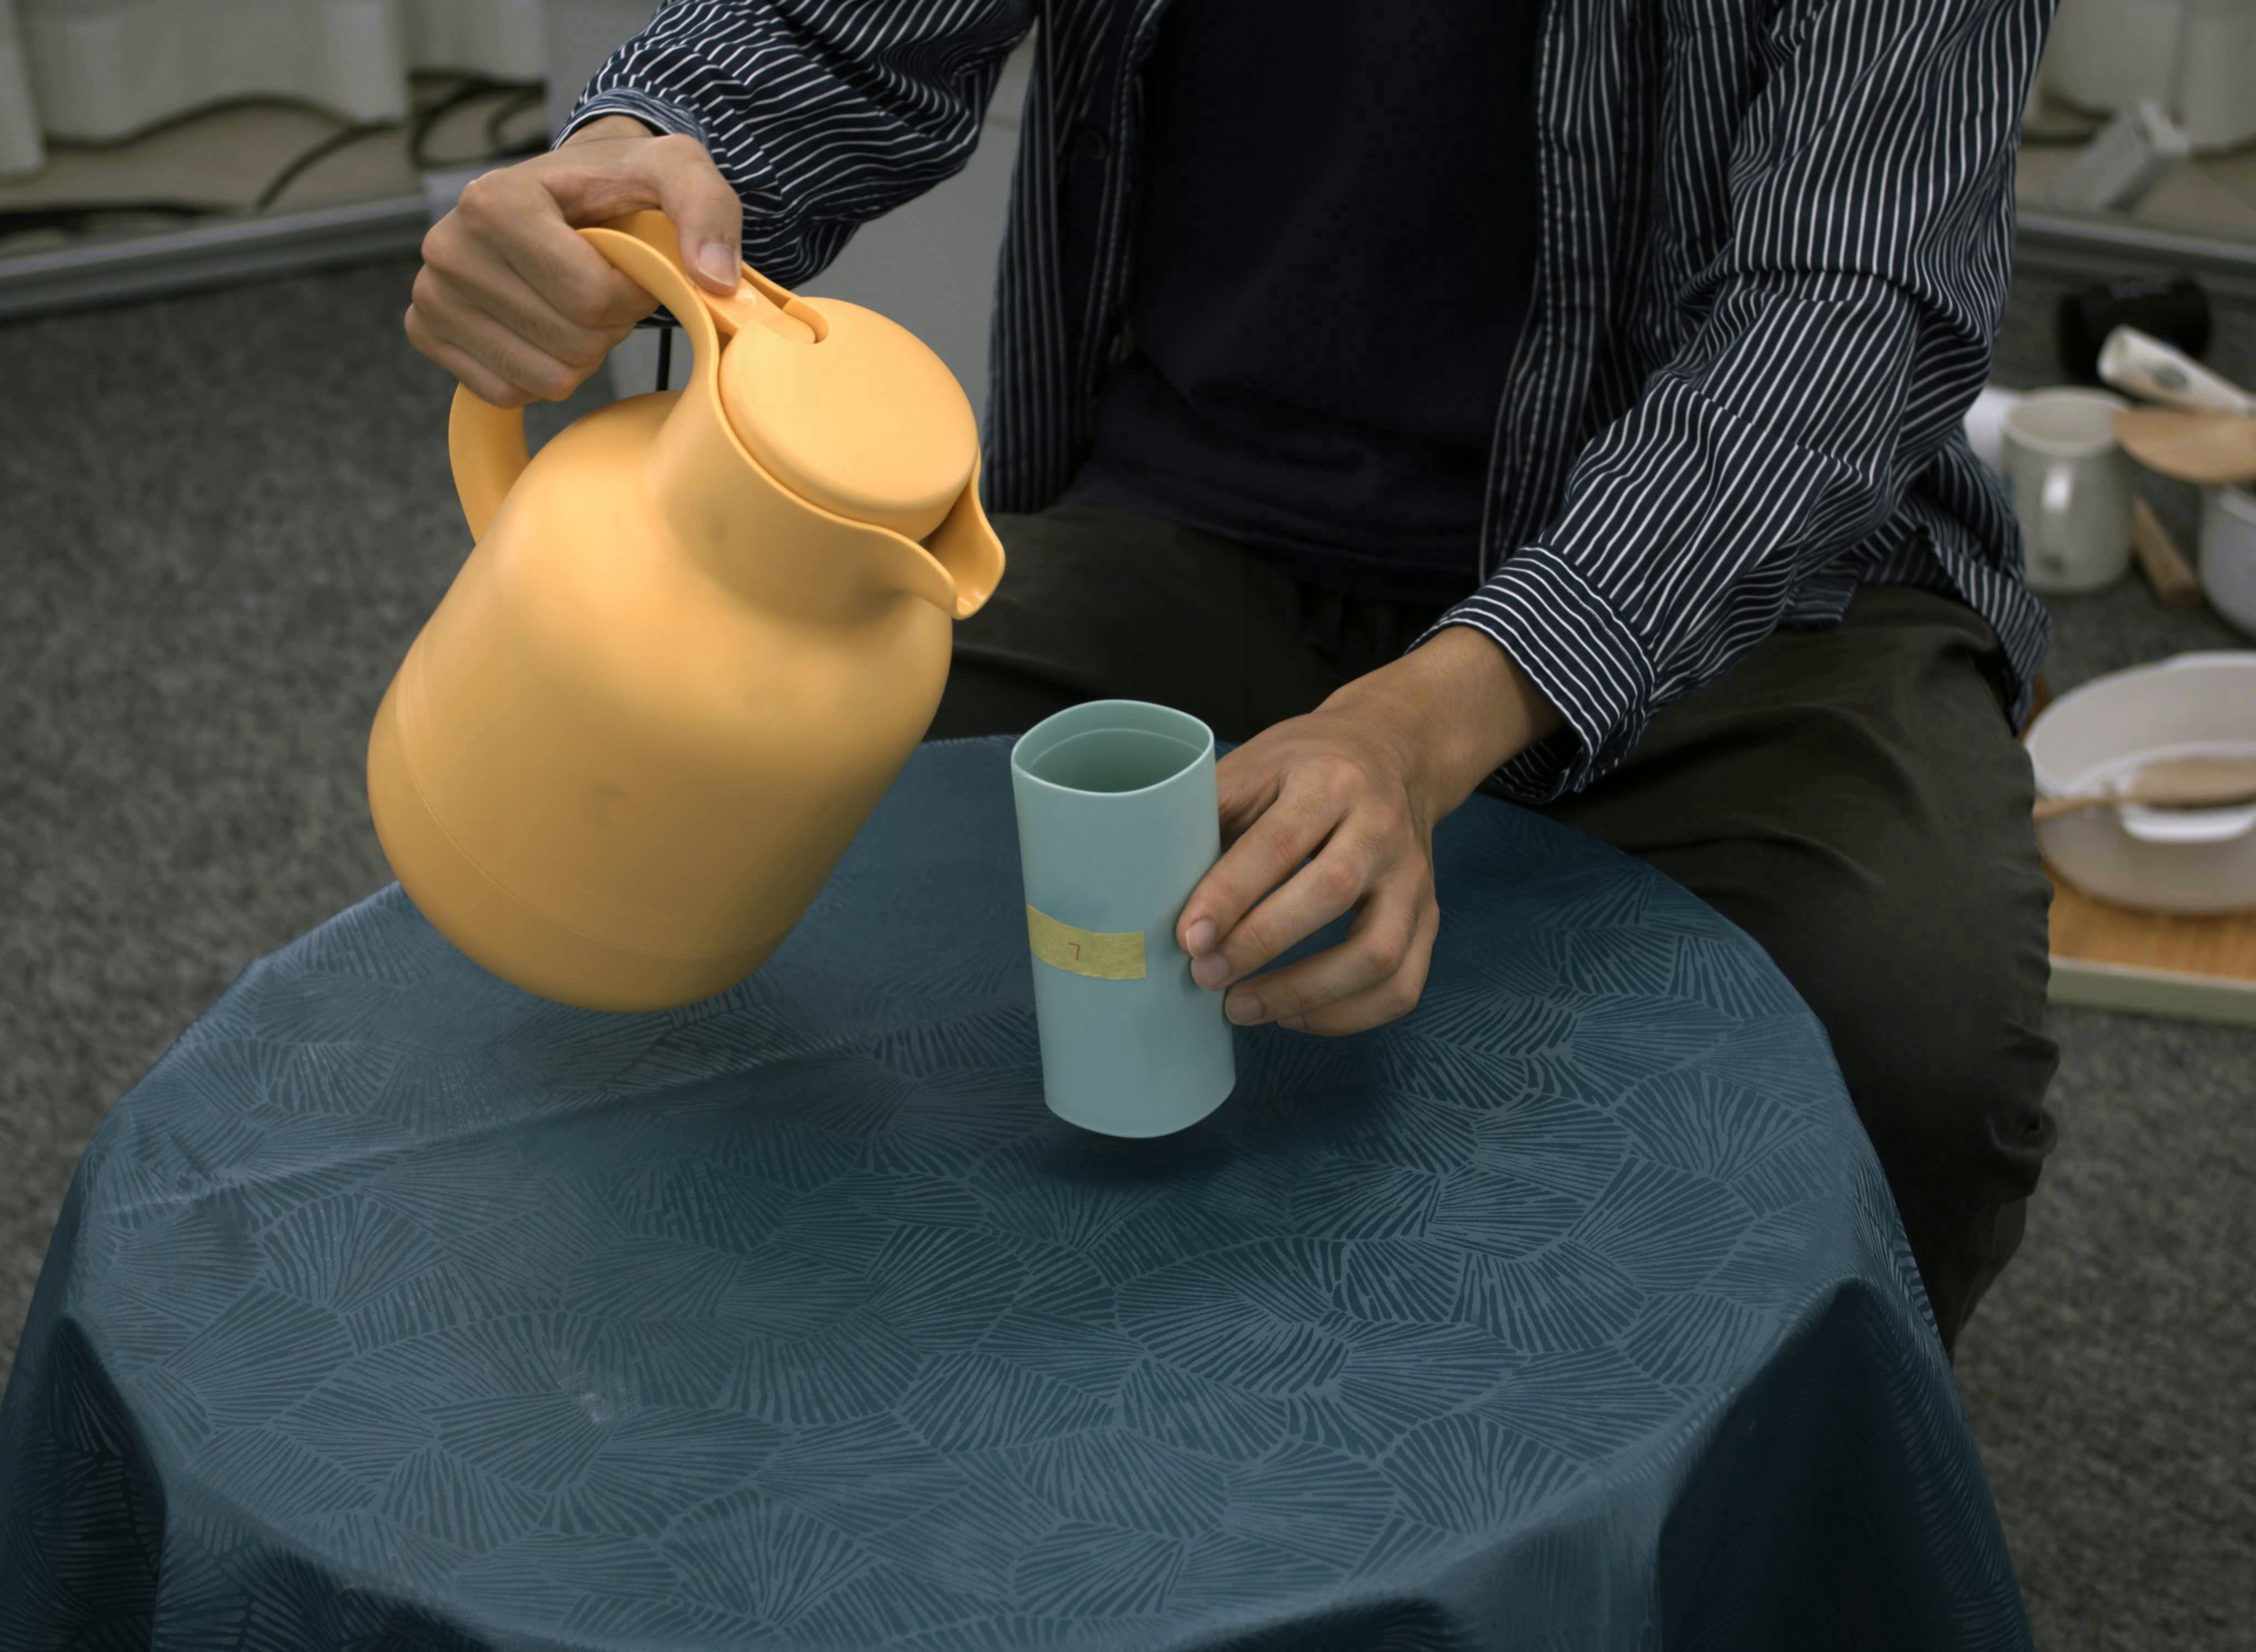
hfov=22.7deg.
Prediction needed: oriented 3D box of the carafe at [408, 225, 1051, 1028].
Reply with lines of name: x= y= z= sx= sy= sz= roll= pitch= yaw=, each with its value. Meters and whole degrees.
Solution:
carafe: x=-0.141 y=-0.074 z=1.885 sx=0.203 sy=0.256 sz=0.166 roll=47 pitch=41 yaw=11

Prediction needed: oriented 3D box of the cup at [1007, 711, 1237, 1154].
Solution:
cup: x=0.000 y=0.034 z=1.844 sx=0.066 sy=0.131 sz=0.068 roll=-4 pitch=27 yaw=2
